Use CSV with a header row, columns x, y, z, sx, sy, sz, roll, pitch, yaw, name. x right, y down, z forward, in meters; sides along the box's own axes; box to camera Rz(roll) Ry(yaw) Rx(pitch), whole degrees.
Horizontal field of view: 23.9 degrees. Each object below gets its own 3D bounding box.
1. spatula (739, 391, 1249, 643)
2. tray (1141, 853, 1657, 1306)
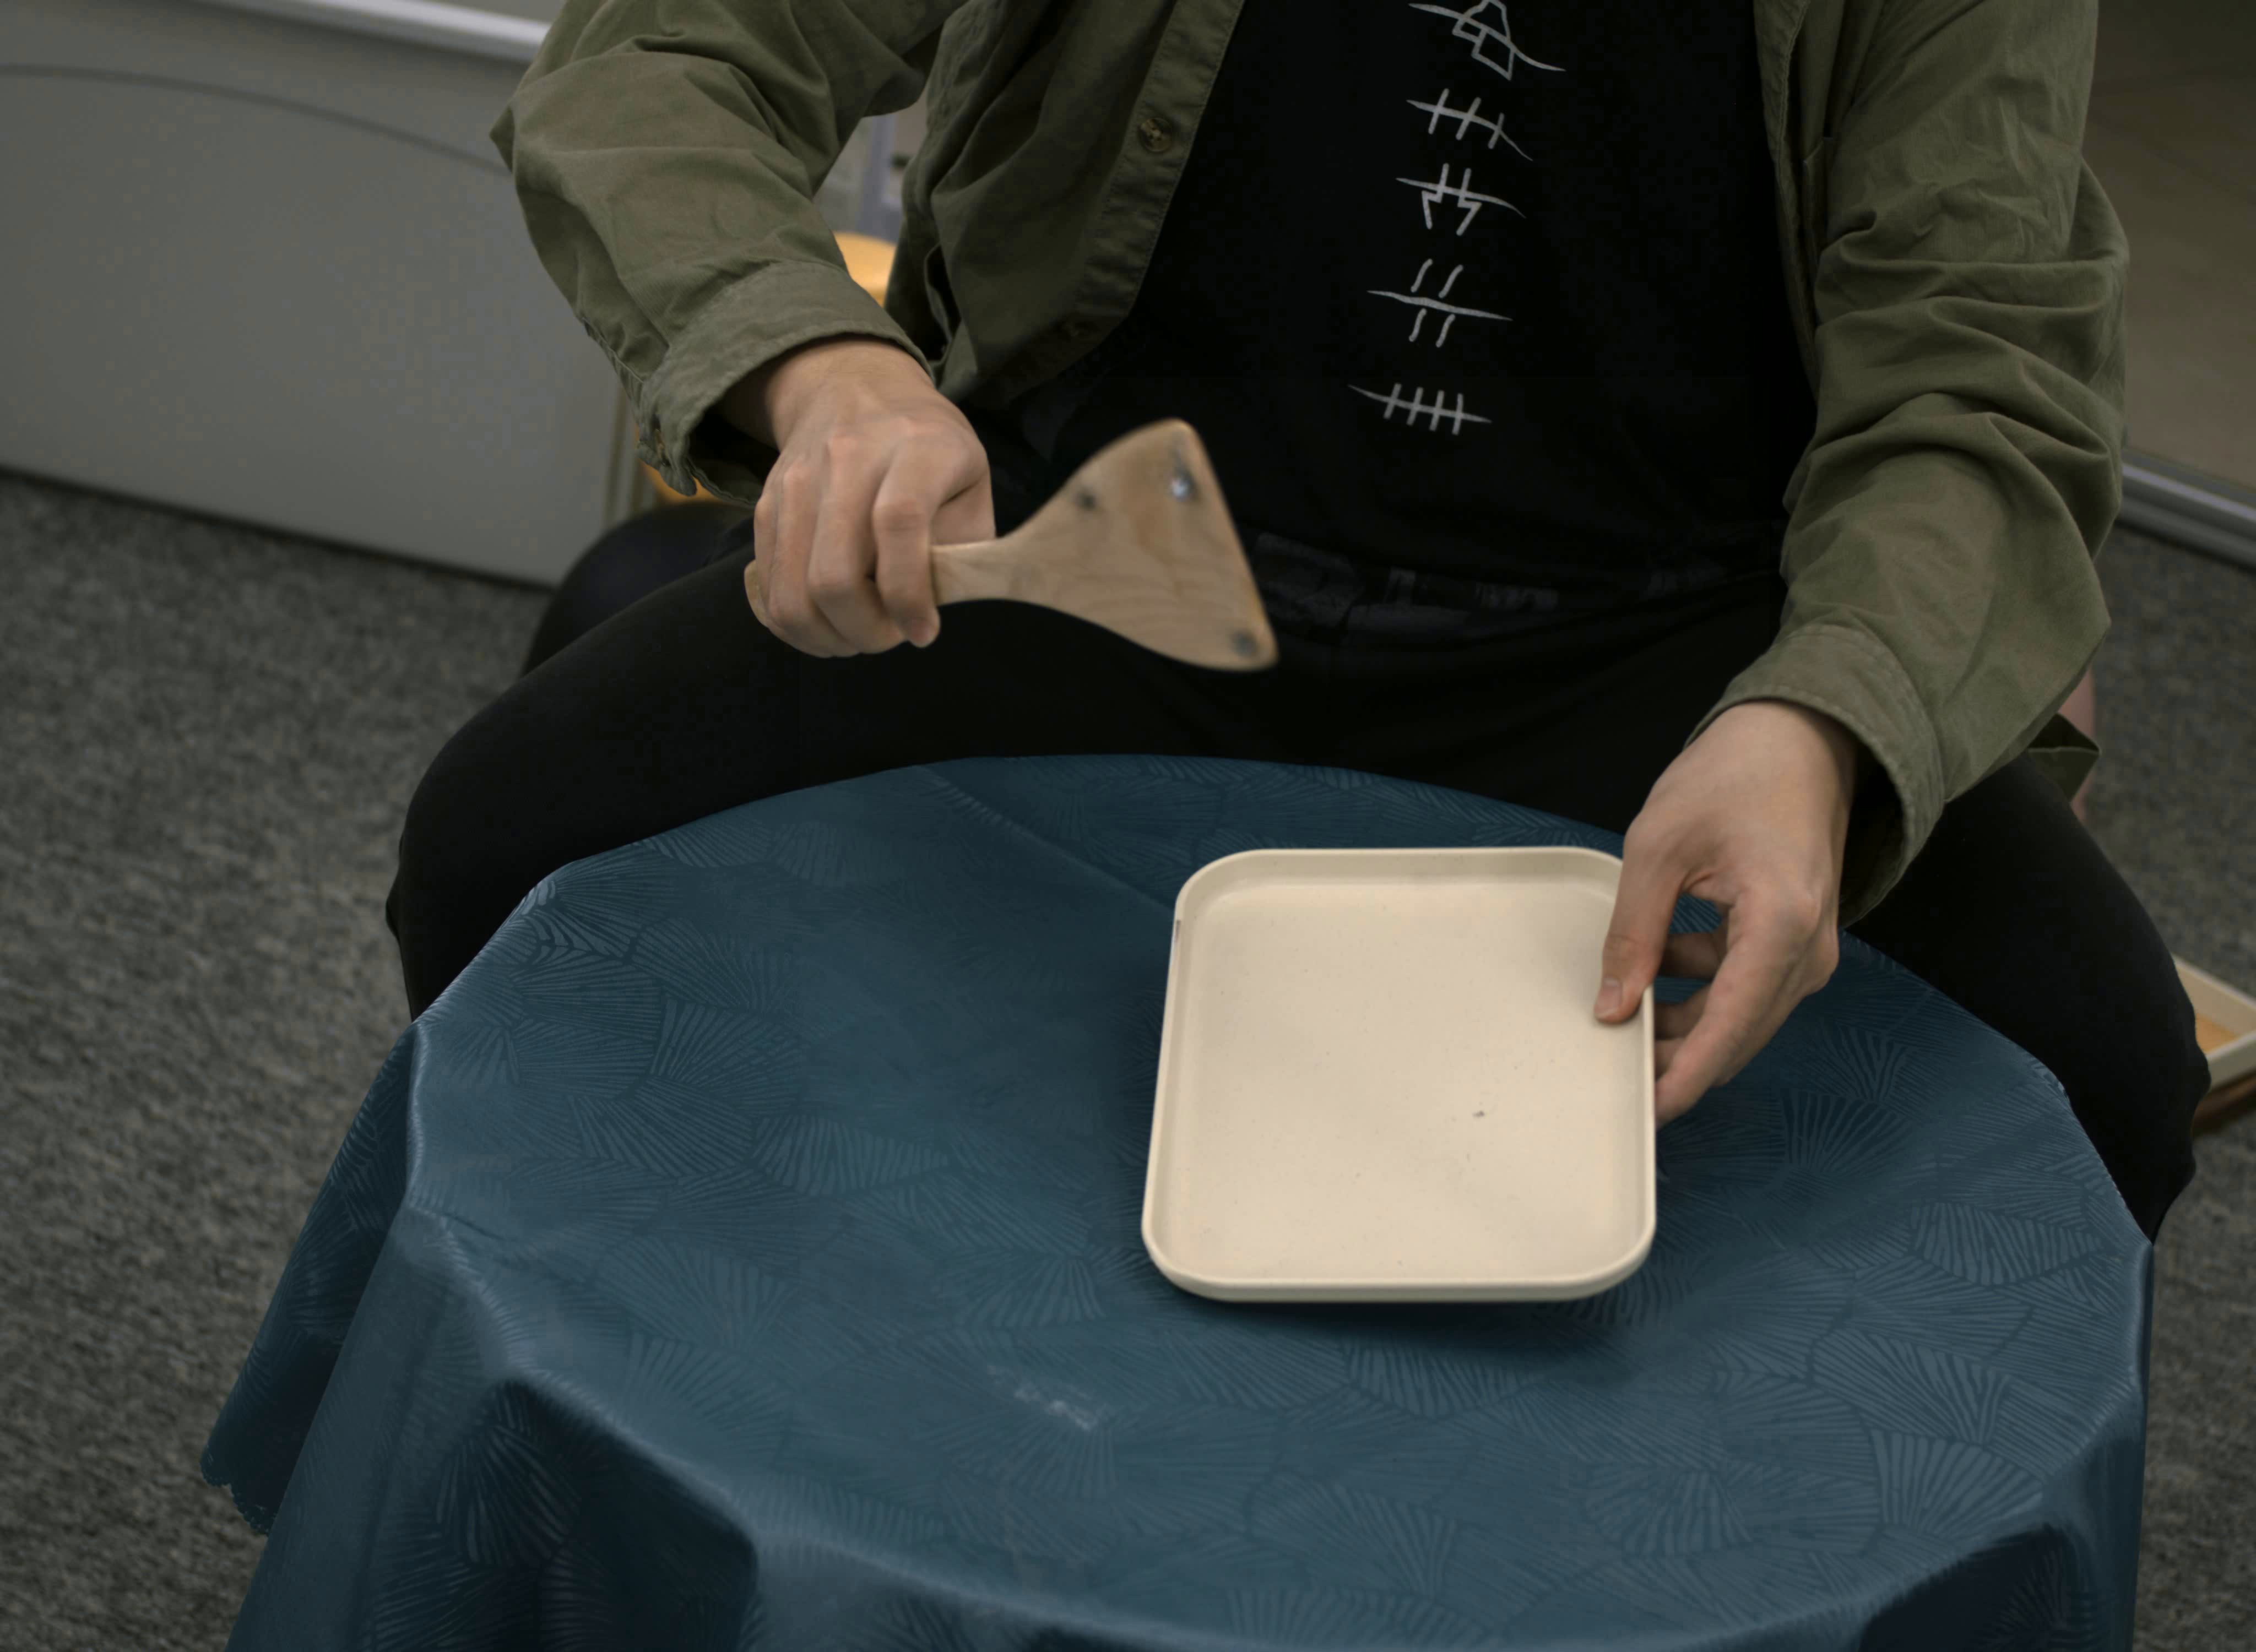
x,y,z,sx,sy,sz,roll,pitch,yaw,name
-0.054,-0.087,1.747,0.016,0.080,0.329,-22,8,-31,spatula
0.095,0.086,1.821,0.171,0.017,0.241,0,35,5,tray
